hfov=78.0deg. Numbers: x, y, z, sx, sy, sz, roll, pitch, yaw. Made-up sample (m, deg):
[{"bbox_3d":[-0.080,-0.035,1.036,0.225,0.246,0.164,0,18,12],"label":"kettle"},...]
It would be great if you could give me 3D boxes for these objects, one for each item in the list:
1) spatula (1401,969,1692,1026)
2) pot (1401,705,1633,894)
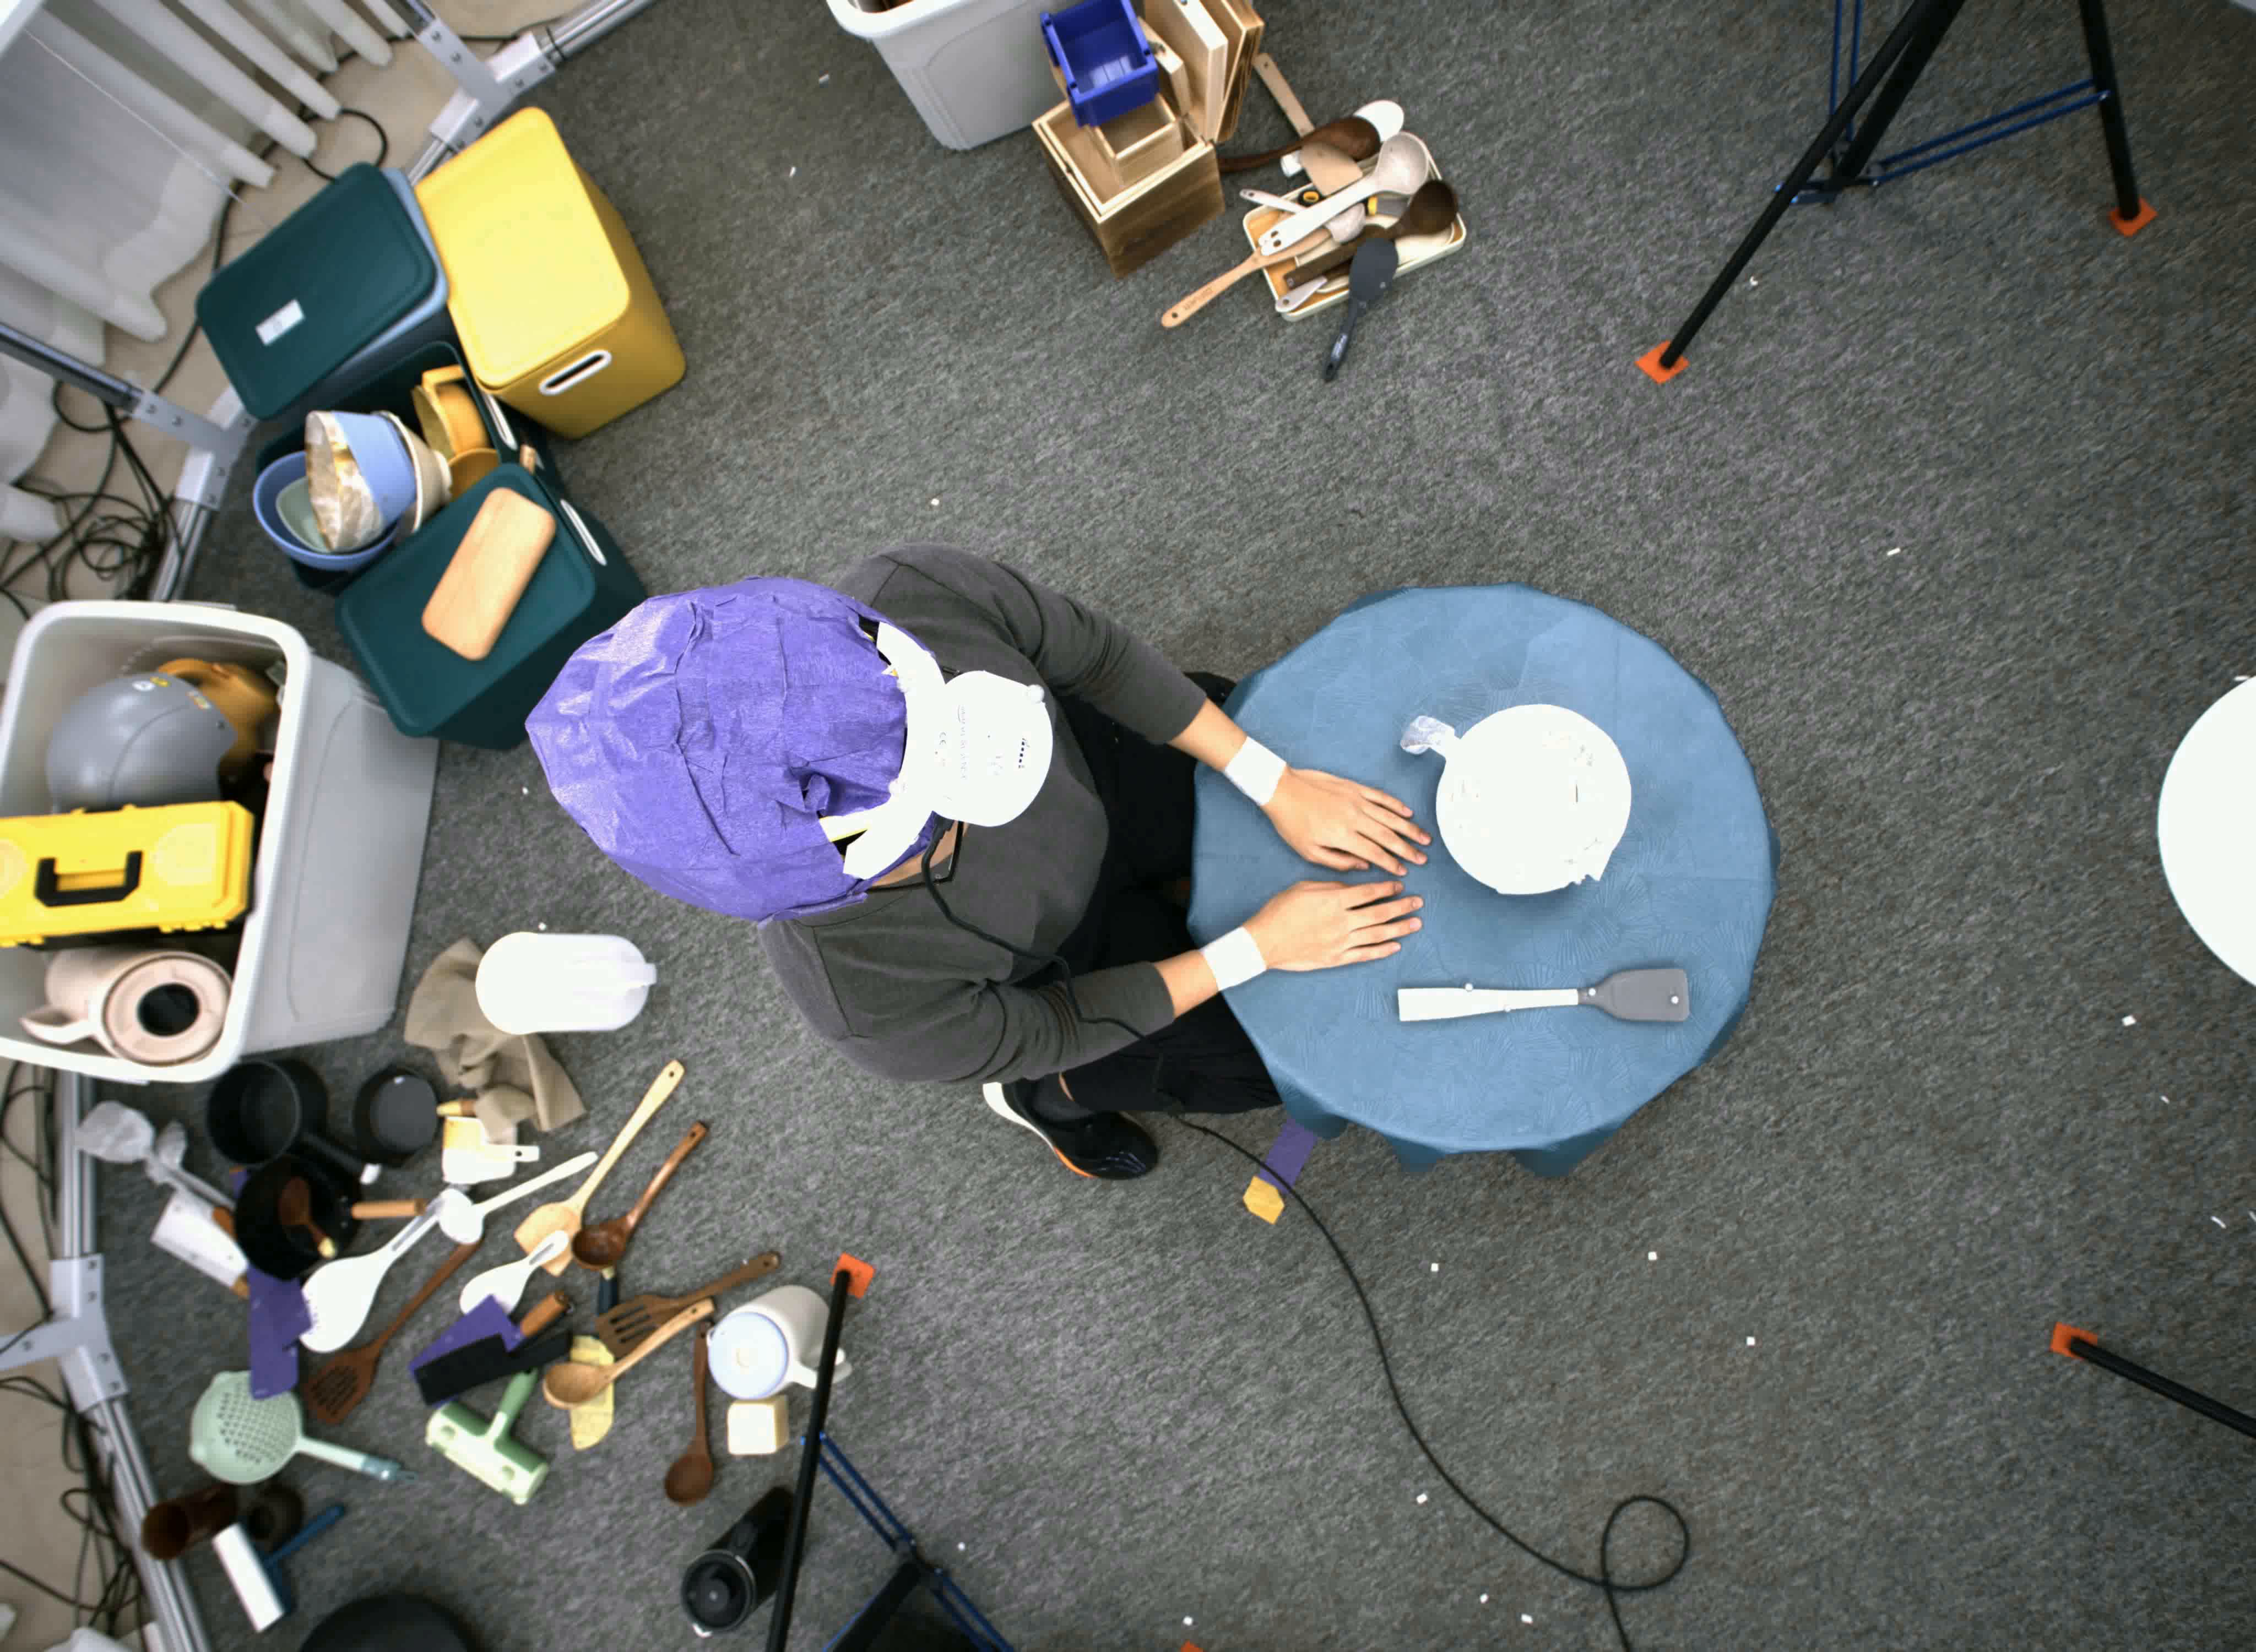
[{"bbox_3d":[0.426,0.176,1.408,0.289,0.032,0.058,-3,81,11],"label":"spatula"},{"bbox_3d":[0.378,-0.040,1.376,0.233,0.137,0.179,34,92,11],"label":"pot"}]
